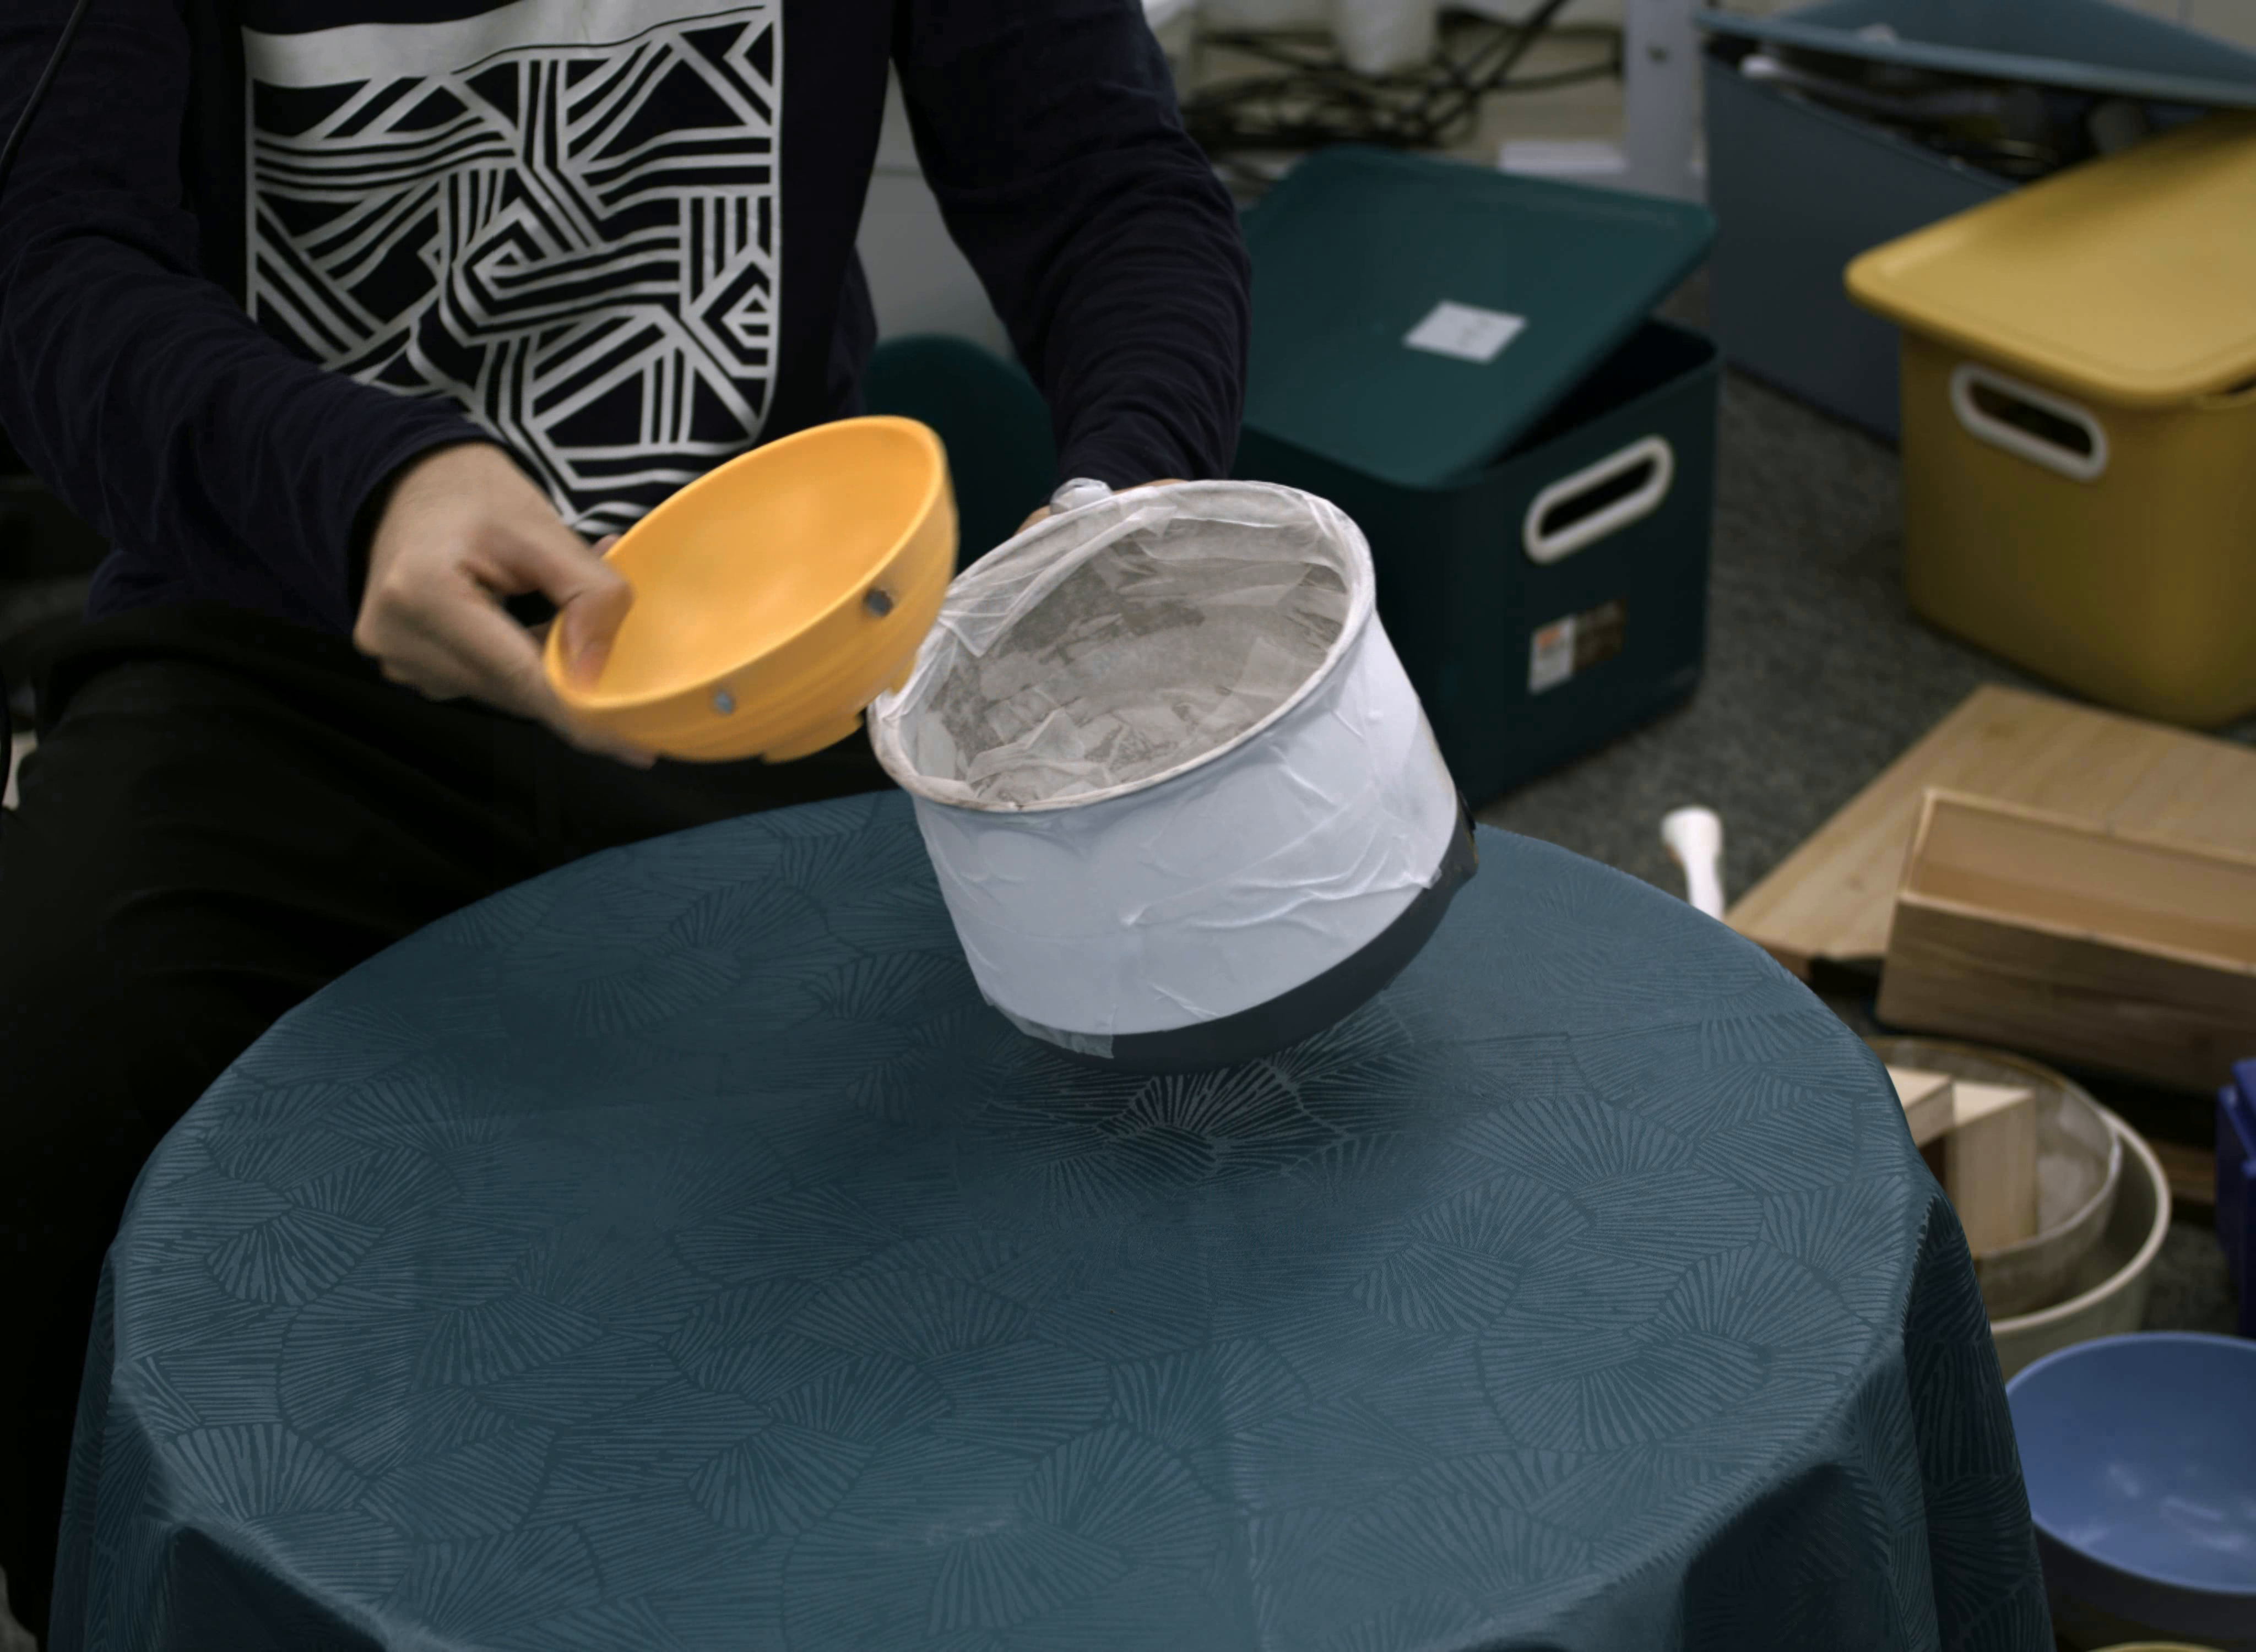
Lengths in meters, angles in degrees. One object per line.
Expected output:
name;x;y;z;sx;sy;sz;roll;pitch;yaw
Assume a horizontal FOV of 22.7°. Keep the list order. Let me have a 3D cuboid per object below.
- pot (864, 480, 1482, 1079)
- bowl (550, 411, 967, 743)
pot;0.013;-0.026;1.909;0.178;0.135;0.237;-21;31;3
bowl;-0.108;-0.068;1.802;0.144;0.059;0.148;-21;28;12
